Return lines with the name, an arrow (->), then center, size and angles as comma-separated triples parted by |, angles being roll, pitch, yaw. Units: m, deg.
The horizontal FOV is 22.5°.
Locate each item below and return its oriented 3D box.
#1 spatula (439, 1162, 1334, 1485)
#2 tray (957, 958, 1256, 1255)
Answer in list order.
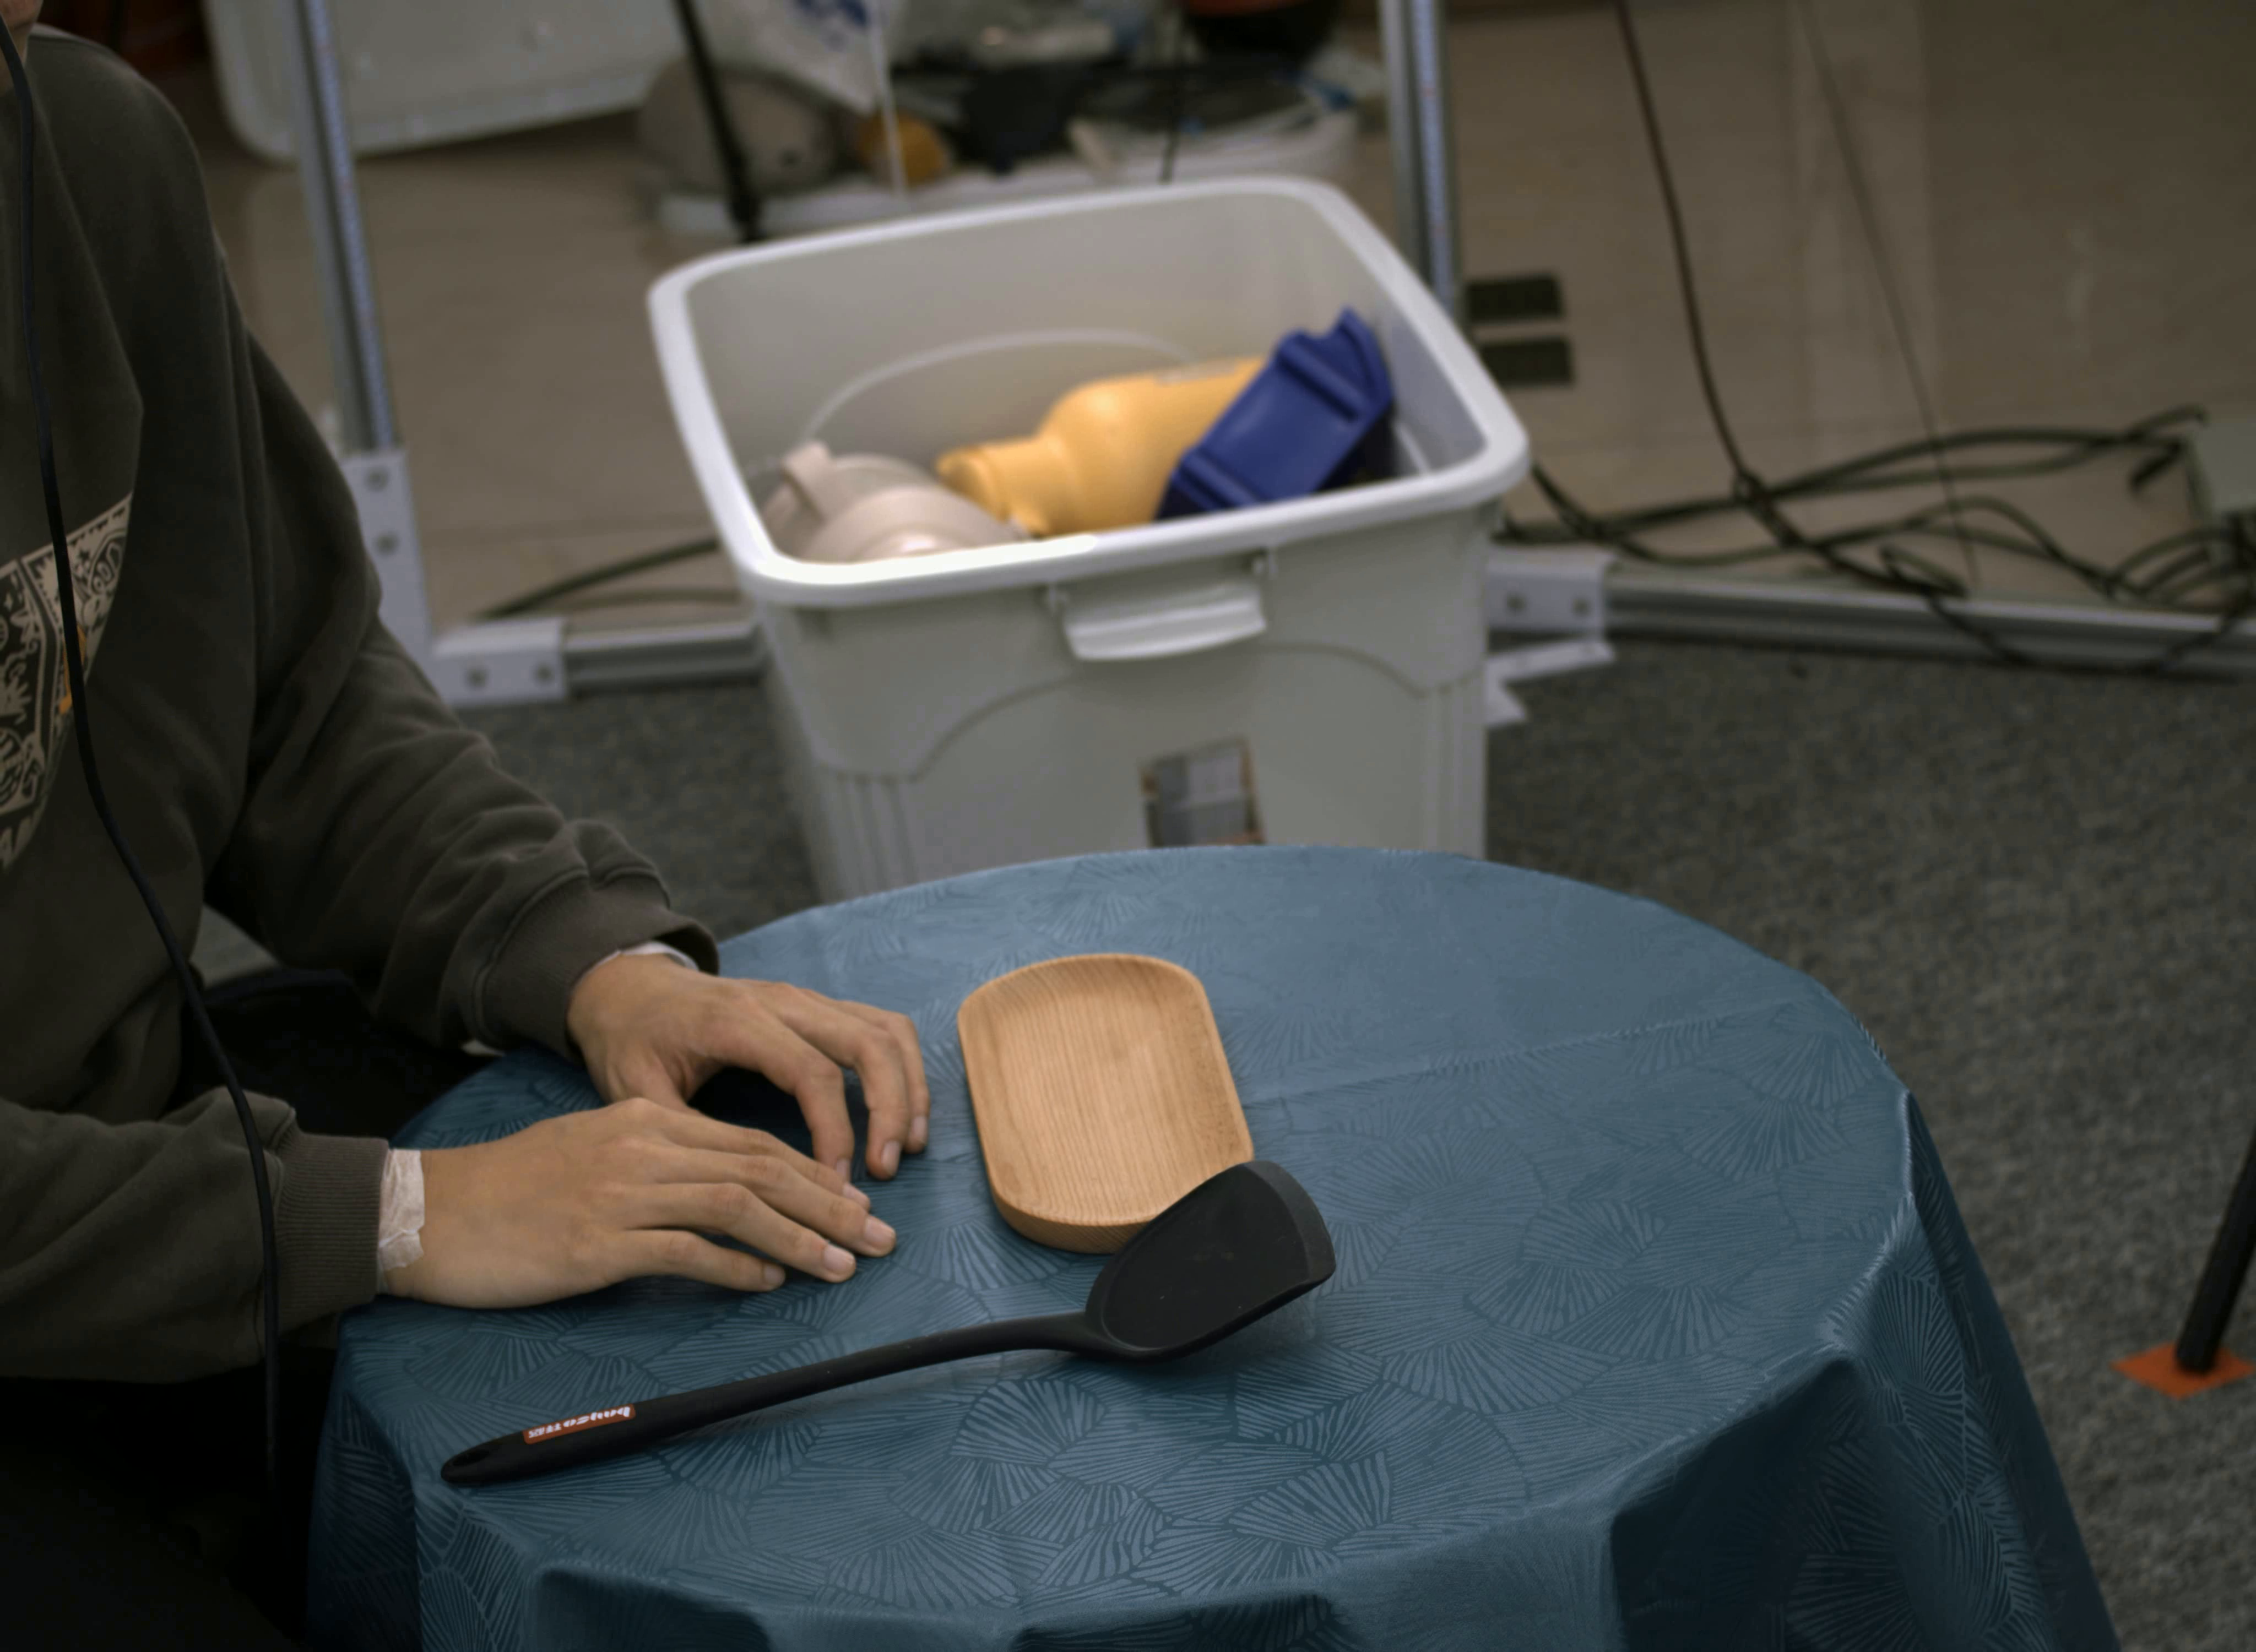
spatula -> -0.088, 0.186, 2.025 | 0.325, 0.041, 0.098 | -11, 24, -9
tray -> -0.010, 0.107, 2.199 | 0.101, 0.020, 0.228 | -9, 26, -4
